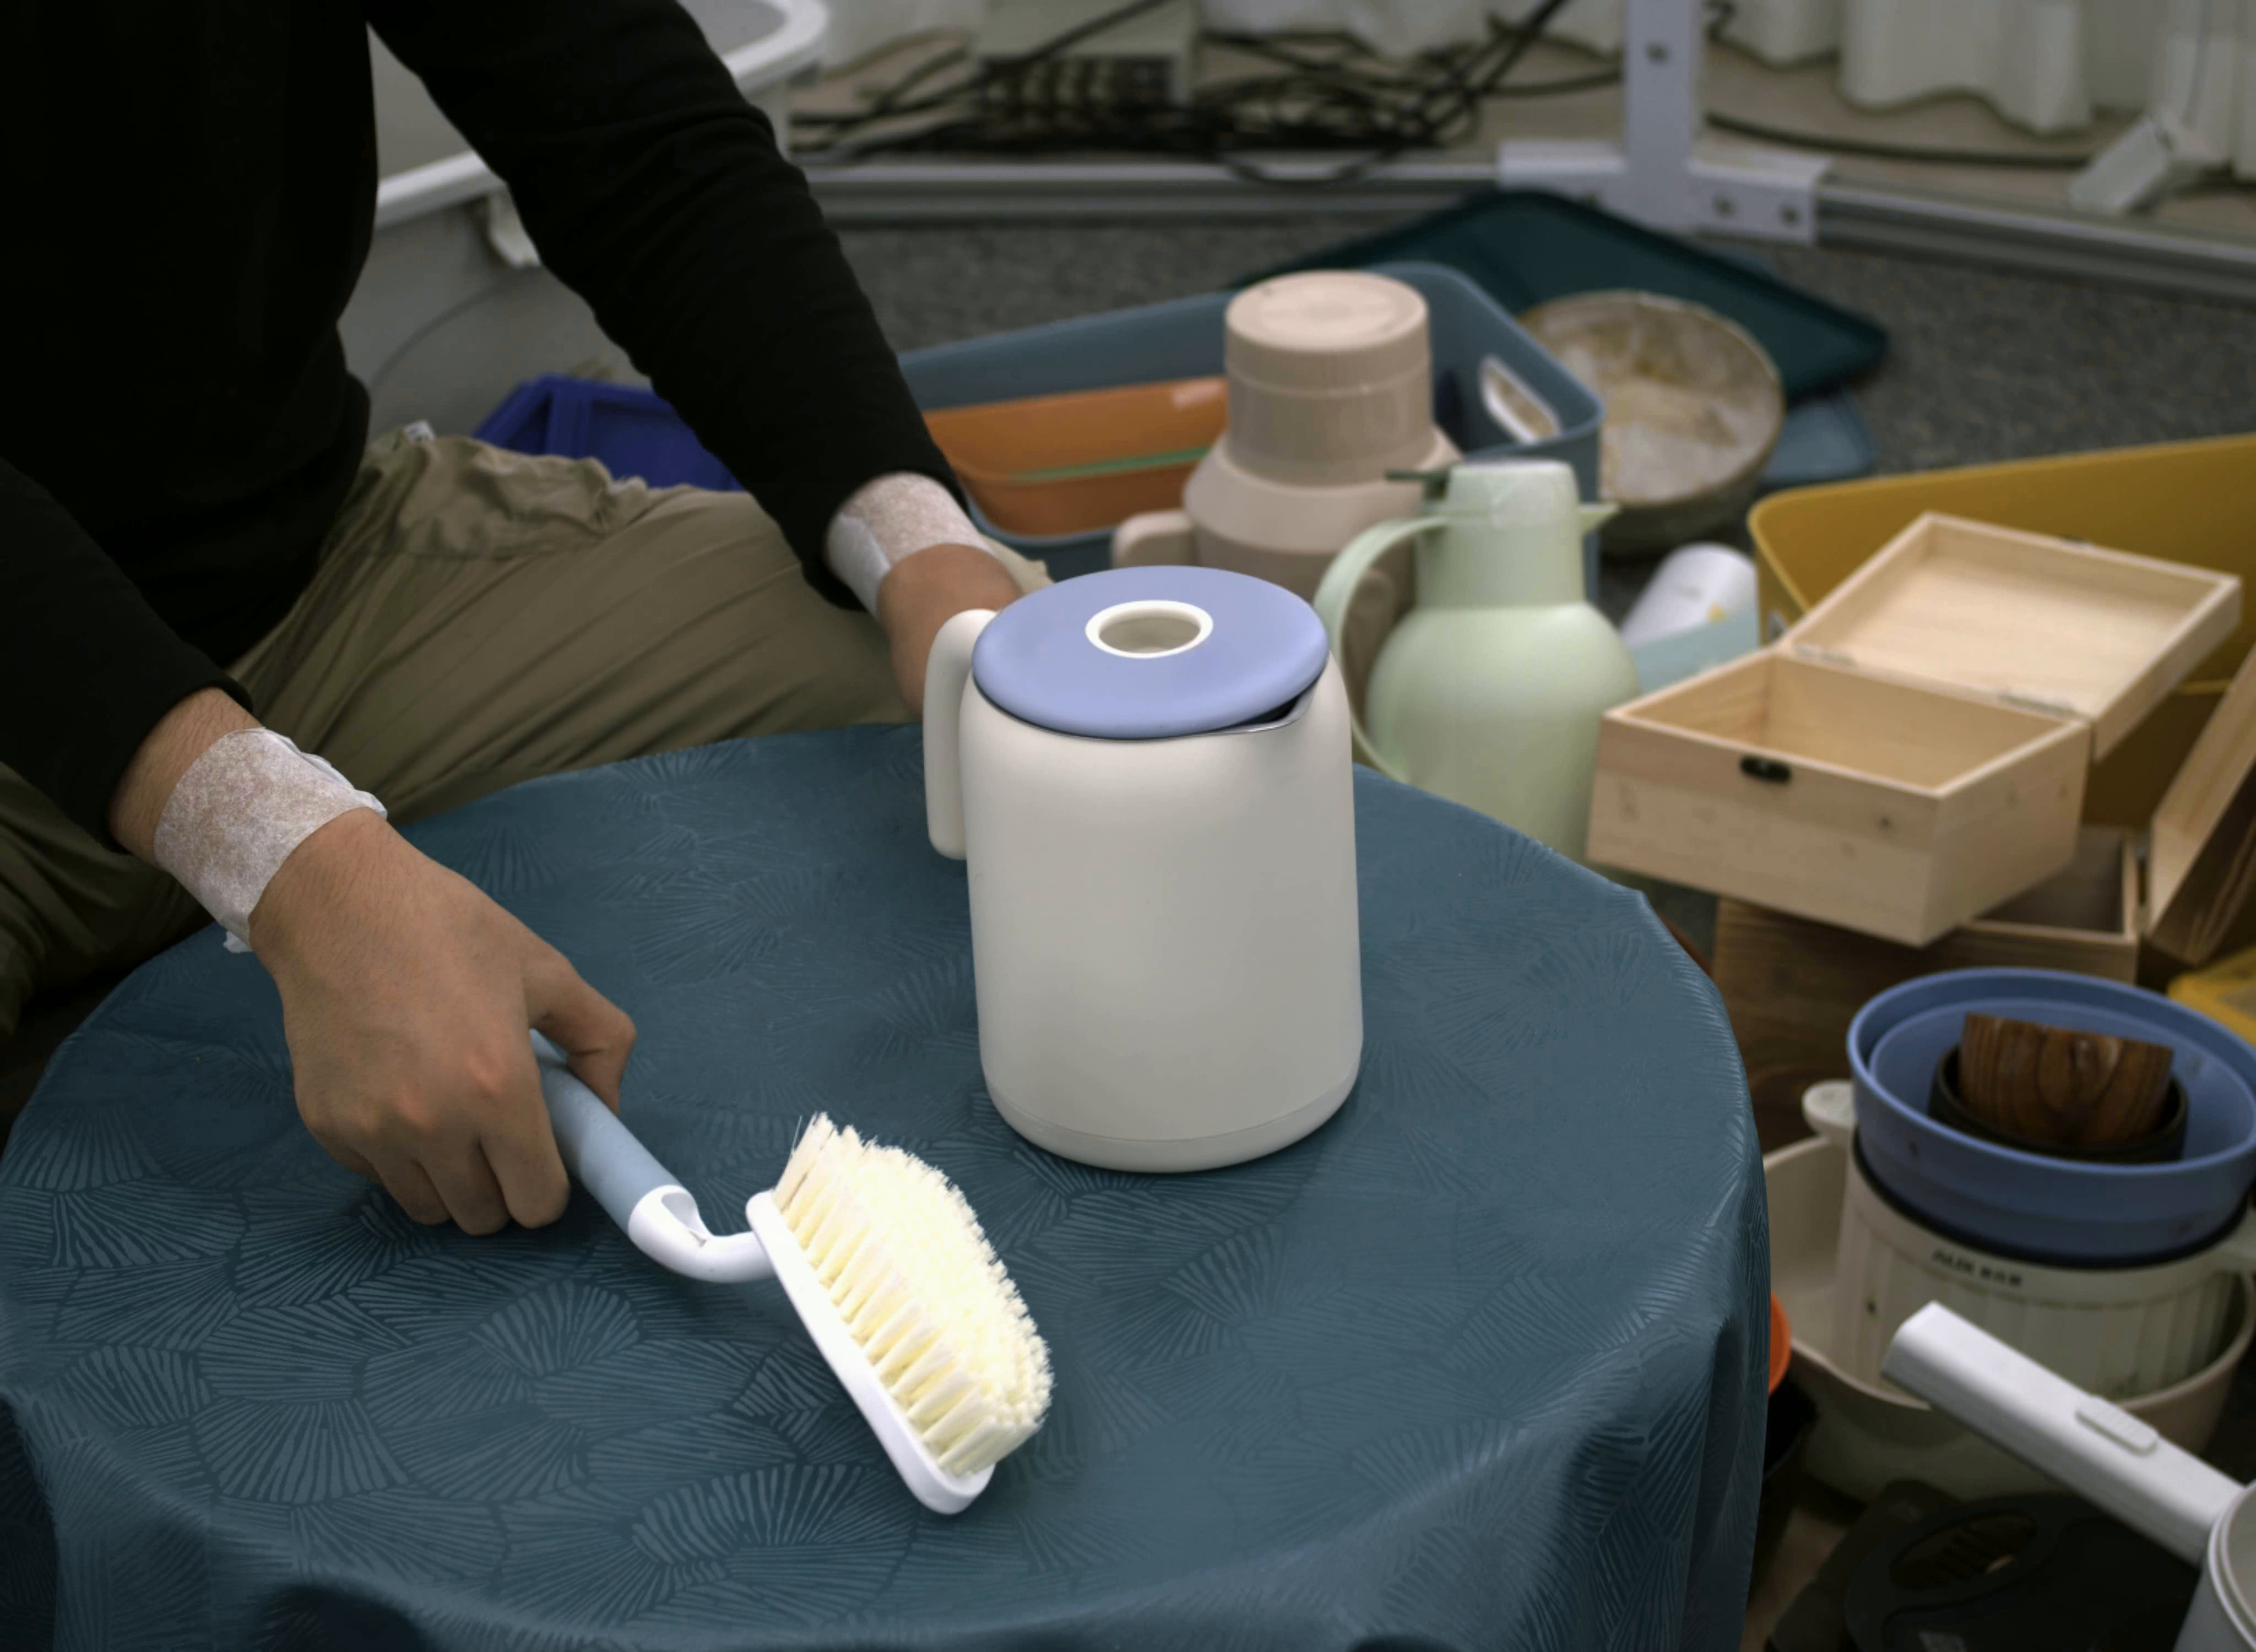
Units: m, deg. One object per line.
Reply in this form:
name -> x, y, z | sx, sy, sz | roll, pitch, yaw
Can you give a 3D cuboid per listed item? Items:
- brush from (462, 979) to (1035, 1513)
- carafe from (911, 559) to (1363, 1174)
brush -> -0.123, 0.104, 1.803 | 0.085, 0.082, 0.327 | -27, 39, -19
carafe -> -0.005, 0.005, 1.901 | 0.134, 0.181, 0.191 | -25, 33, -37
